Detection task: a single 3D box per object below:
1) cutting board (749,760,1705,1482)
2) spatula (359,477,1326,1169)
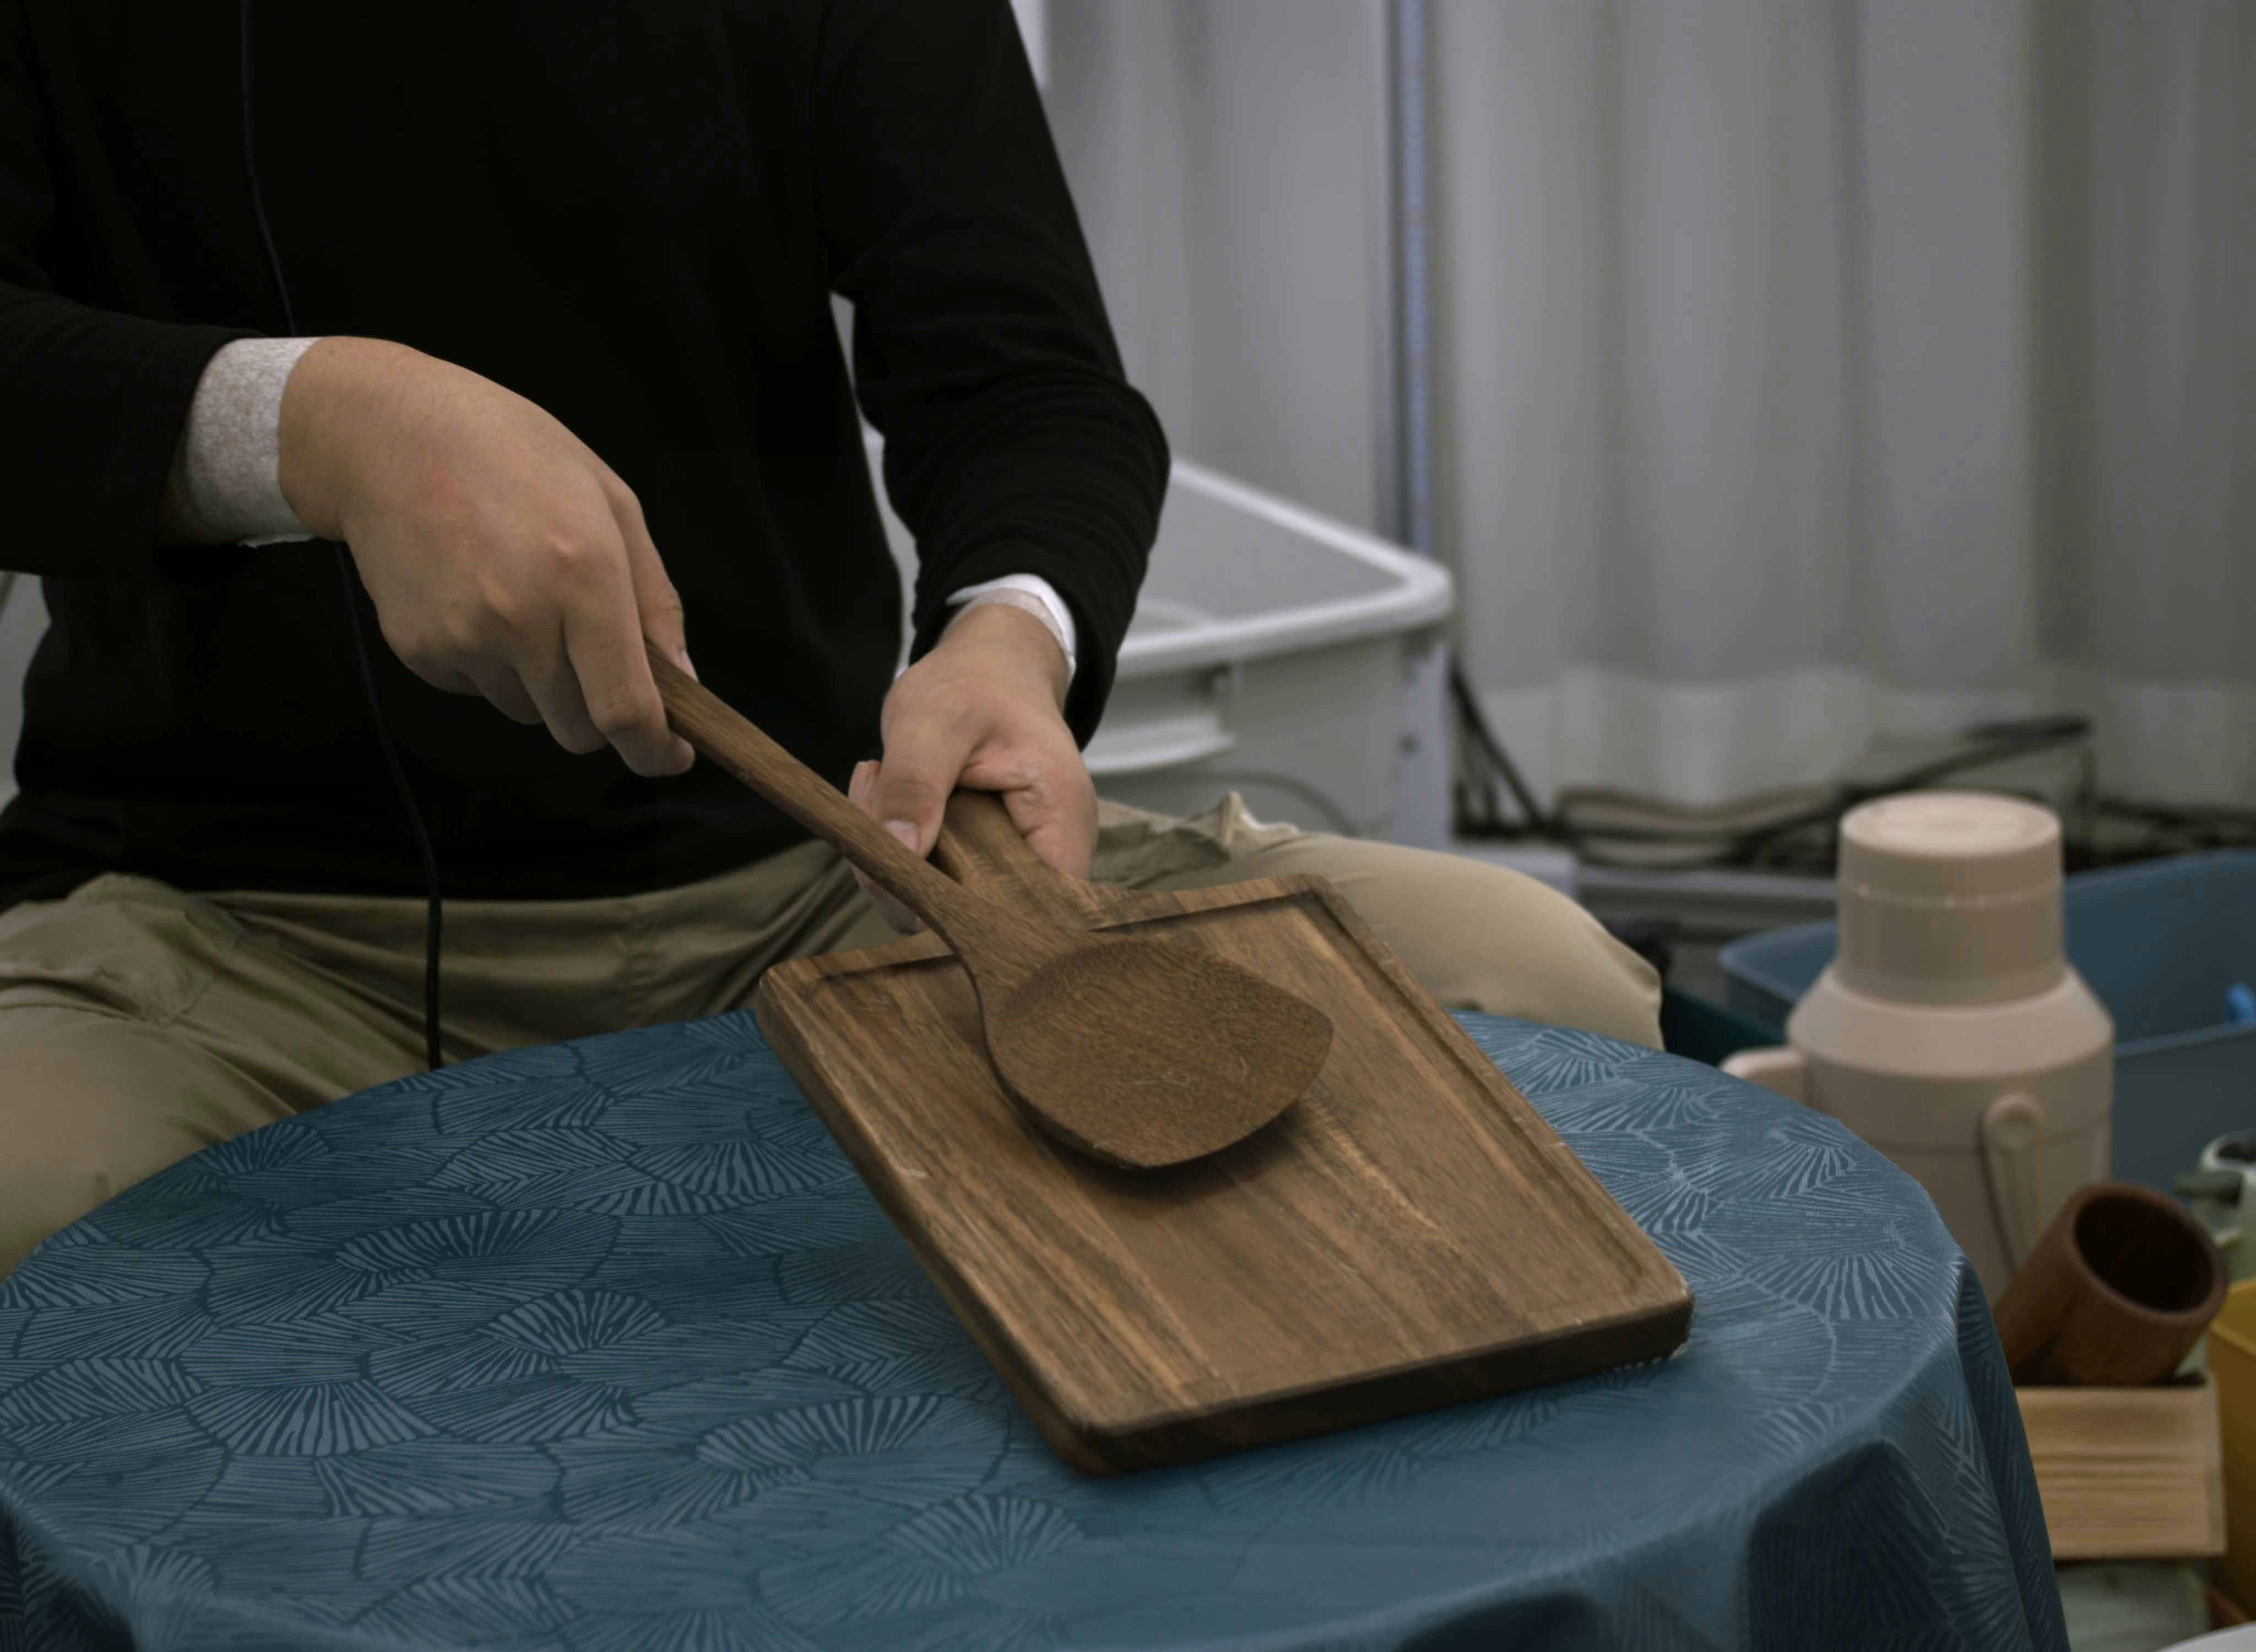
[{"bbox_3d":[0.004,0.071,1.645,0.200,0.023,0.357,-10,33,-23],"label":"cutting board"},{"bbox_3d":[-0.103,-0.012,1.681,0.389,0.015,0.096,35,48,26],"label":"spatula"}]
